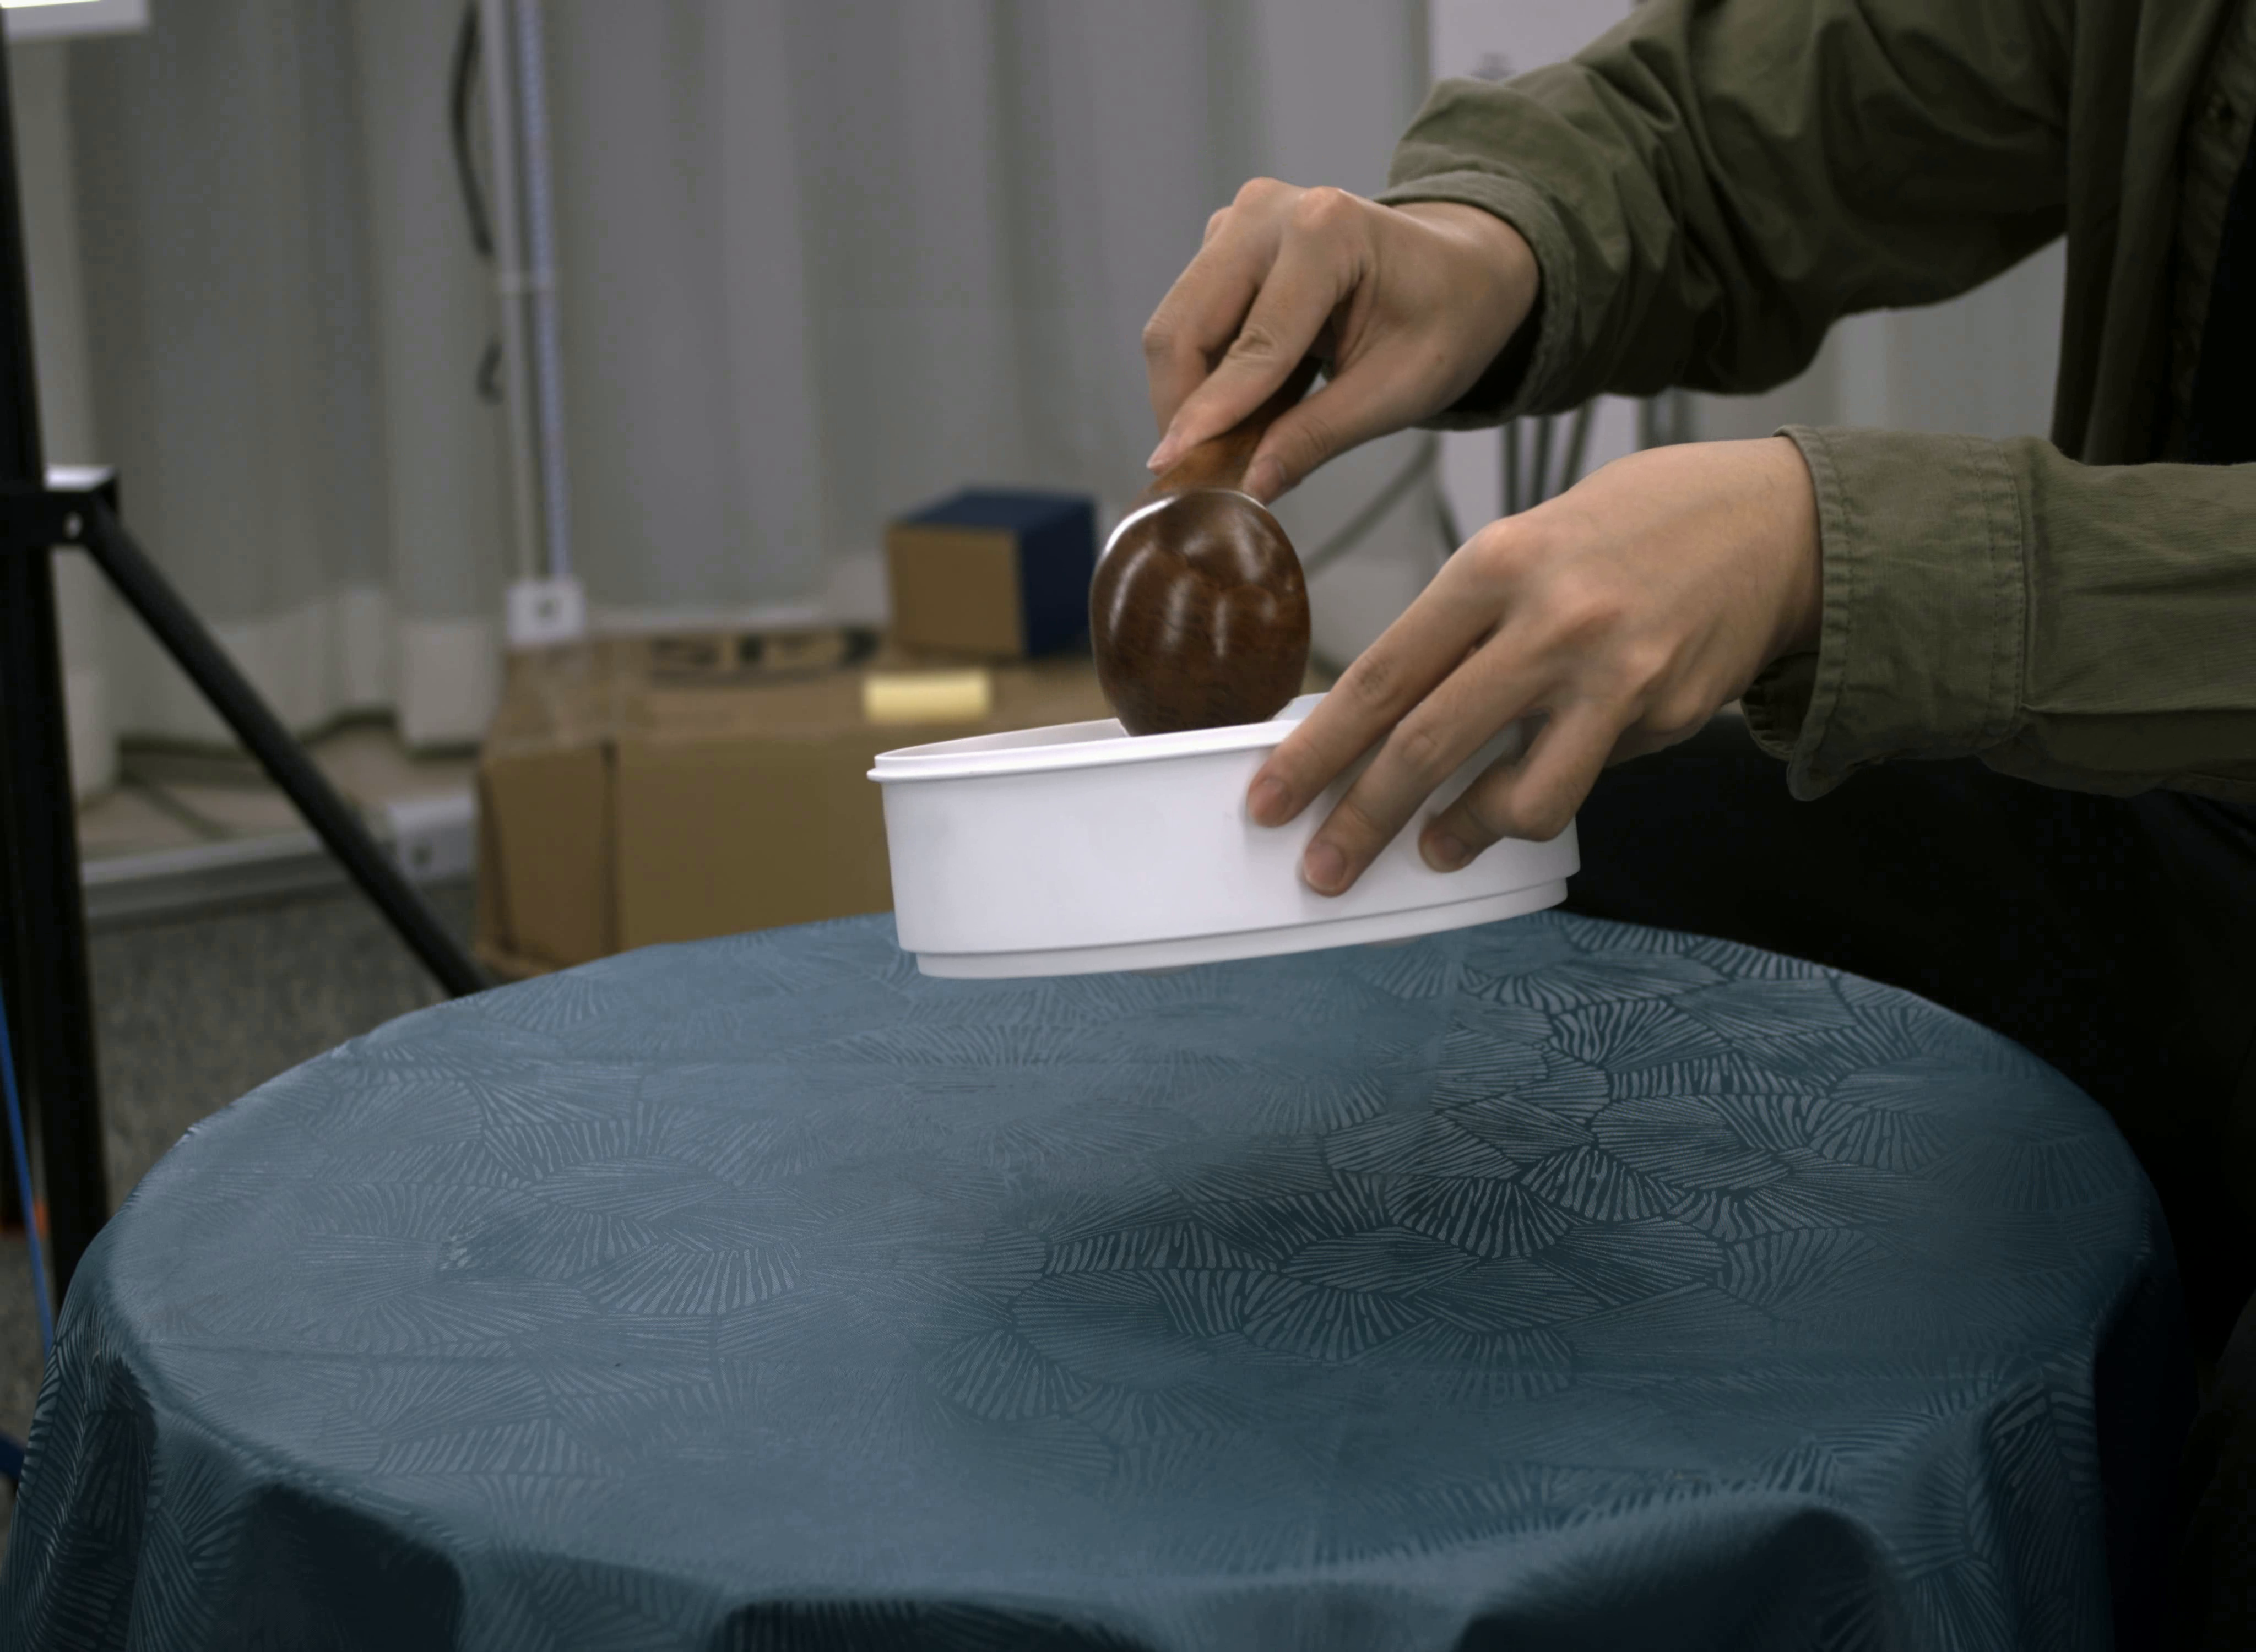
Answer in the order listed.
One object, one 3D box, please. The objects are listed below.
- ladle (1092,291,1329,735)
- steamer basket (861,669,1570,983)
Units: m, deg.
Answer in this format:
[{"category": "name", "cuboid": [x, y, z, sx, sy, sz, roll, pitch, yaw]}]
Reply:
[{"category": "ladle", "cuboid": [0.049, -0.099, 1.588, 0.077, 0.082, 0.272, 30, 27, 4]}, {"category": "steamer basket", "cuboid": [0.027, 0.002, 1.504, 0.197, 0.069, 0.235, -9, 5, -36]}]
